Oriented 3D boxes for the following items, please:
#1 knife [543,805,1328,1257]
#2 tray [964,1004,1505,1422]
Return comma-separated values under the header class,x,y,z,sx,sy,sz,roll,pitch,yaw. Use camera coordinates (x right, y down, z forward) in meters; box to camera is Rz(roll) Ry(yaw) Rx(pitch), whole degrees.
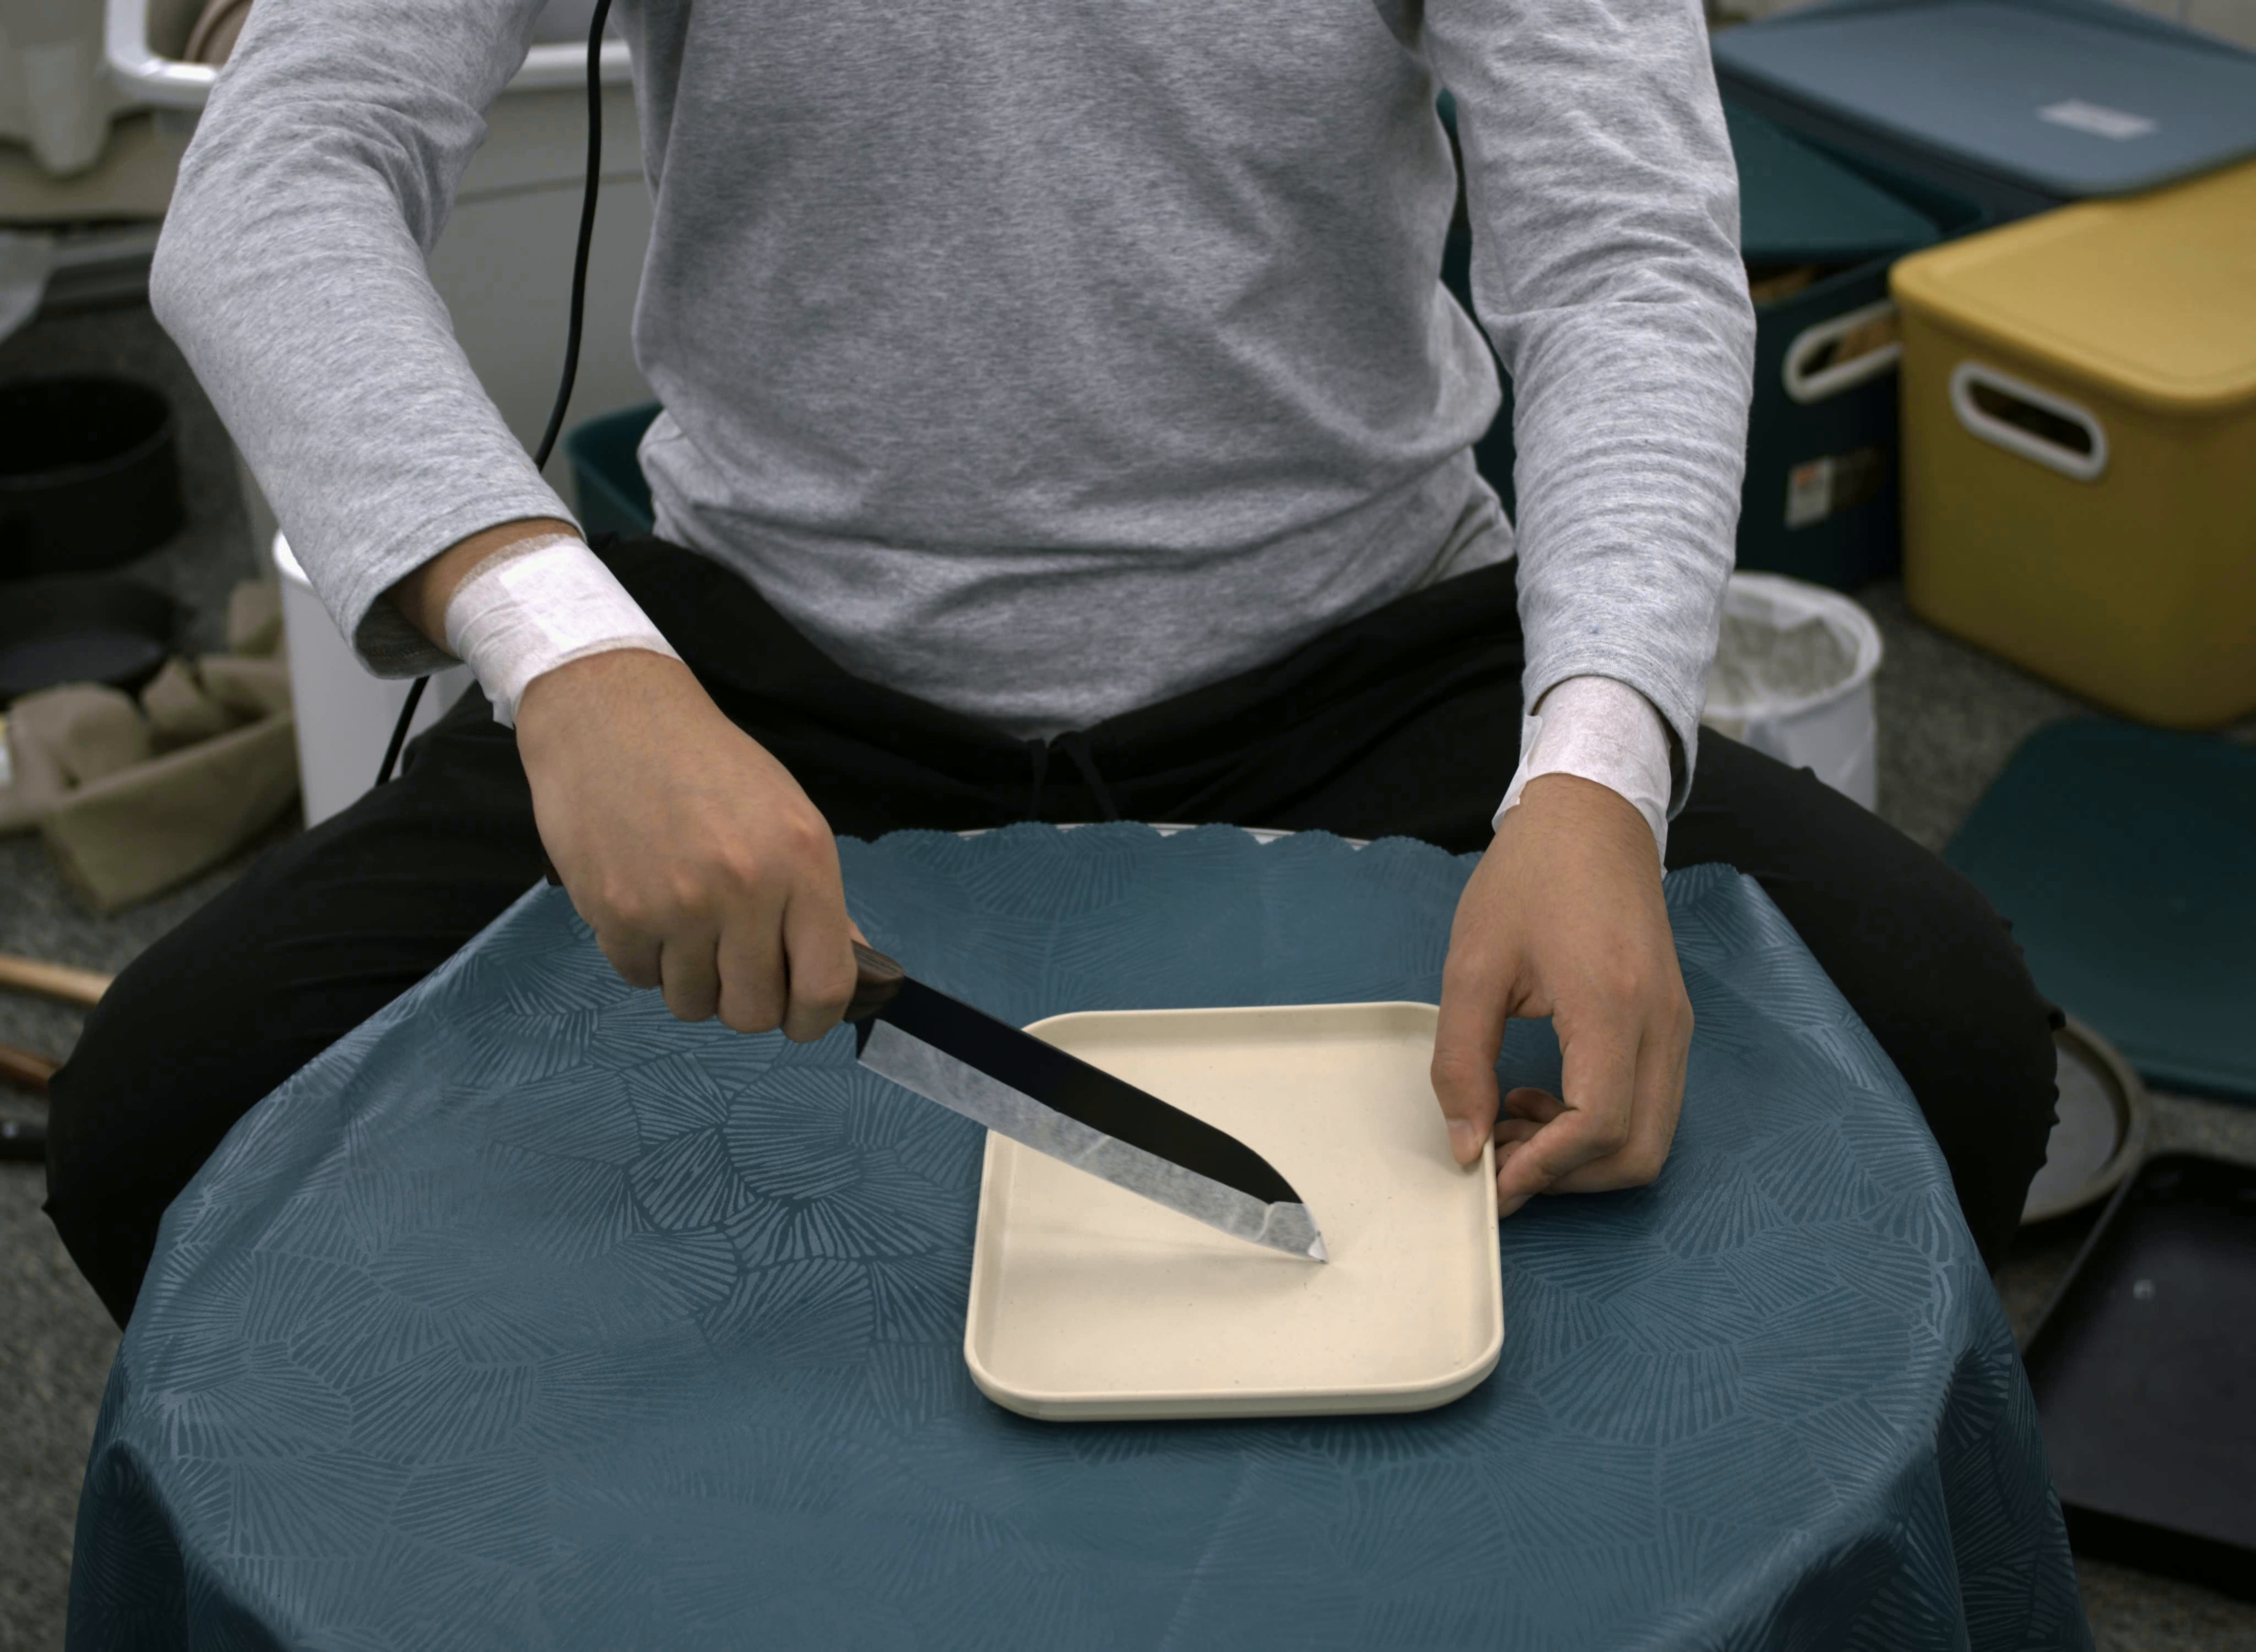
class,x,y,z,sx,sy,sz,roll,pitch,yaw
knife,-0.062,0.068,1.812,0.288,0.049,0.020,28,40,2
tray,0.036,0.125,1.832,0.170,0.017,0.243,-1,27,3
